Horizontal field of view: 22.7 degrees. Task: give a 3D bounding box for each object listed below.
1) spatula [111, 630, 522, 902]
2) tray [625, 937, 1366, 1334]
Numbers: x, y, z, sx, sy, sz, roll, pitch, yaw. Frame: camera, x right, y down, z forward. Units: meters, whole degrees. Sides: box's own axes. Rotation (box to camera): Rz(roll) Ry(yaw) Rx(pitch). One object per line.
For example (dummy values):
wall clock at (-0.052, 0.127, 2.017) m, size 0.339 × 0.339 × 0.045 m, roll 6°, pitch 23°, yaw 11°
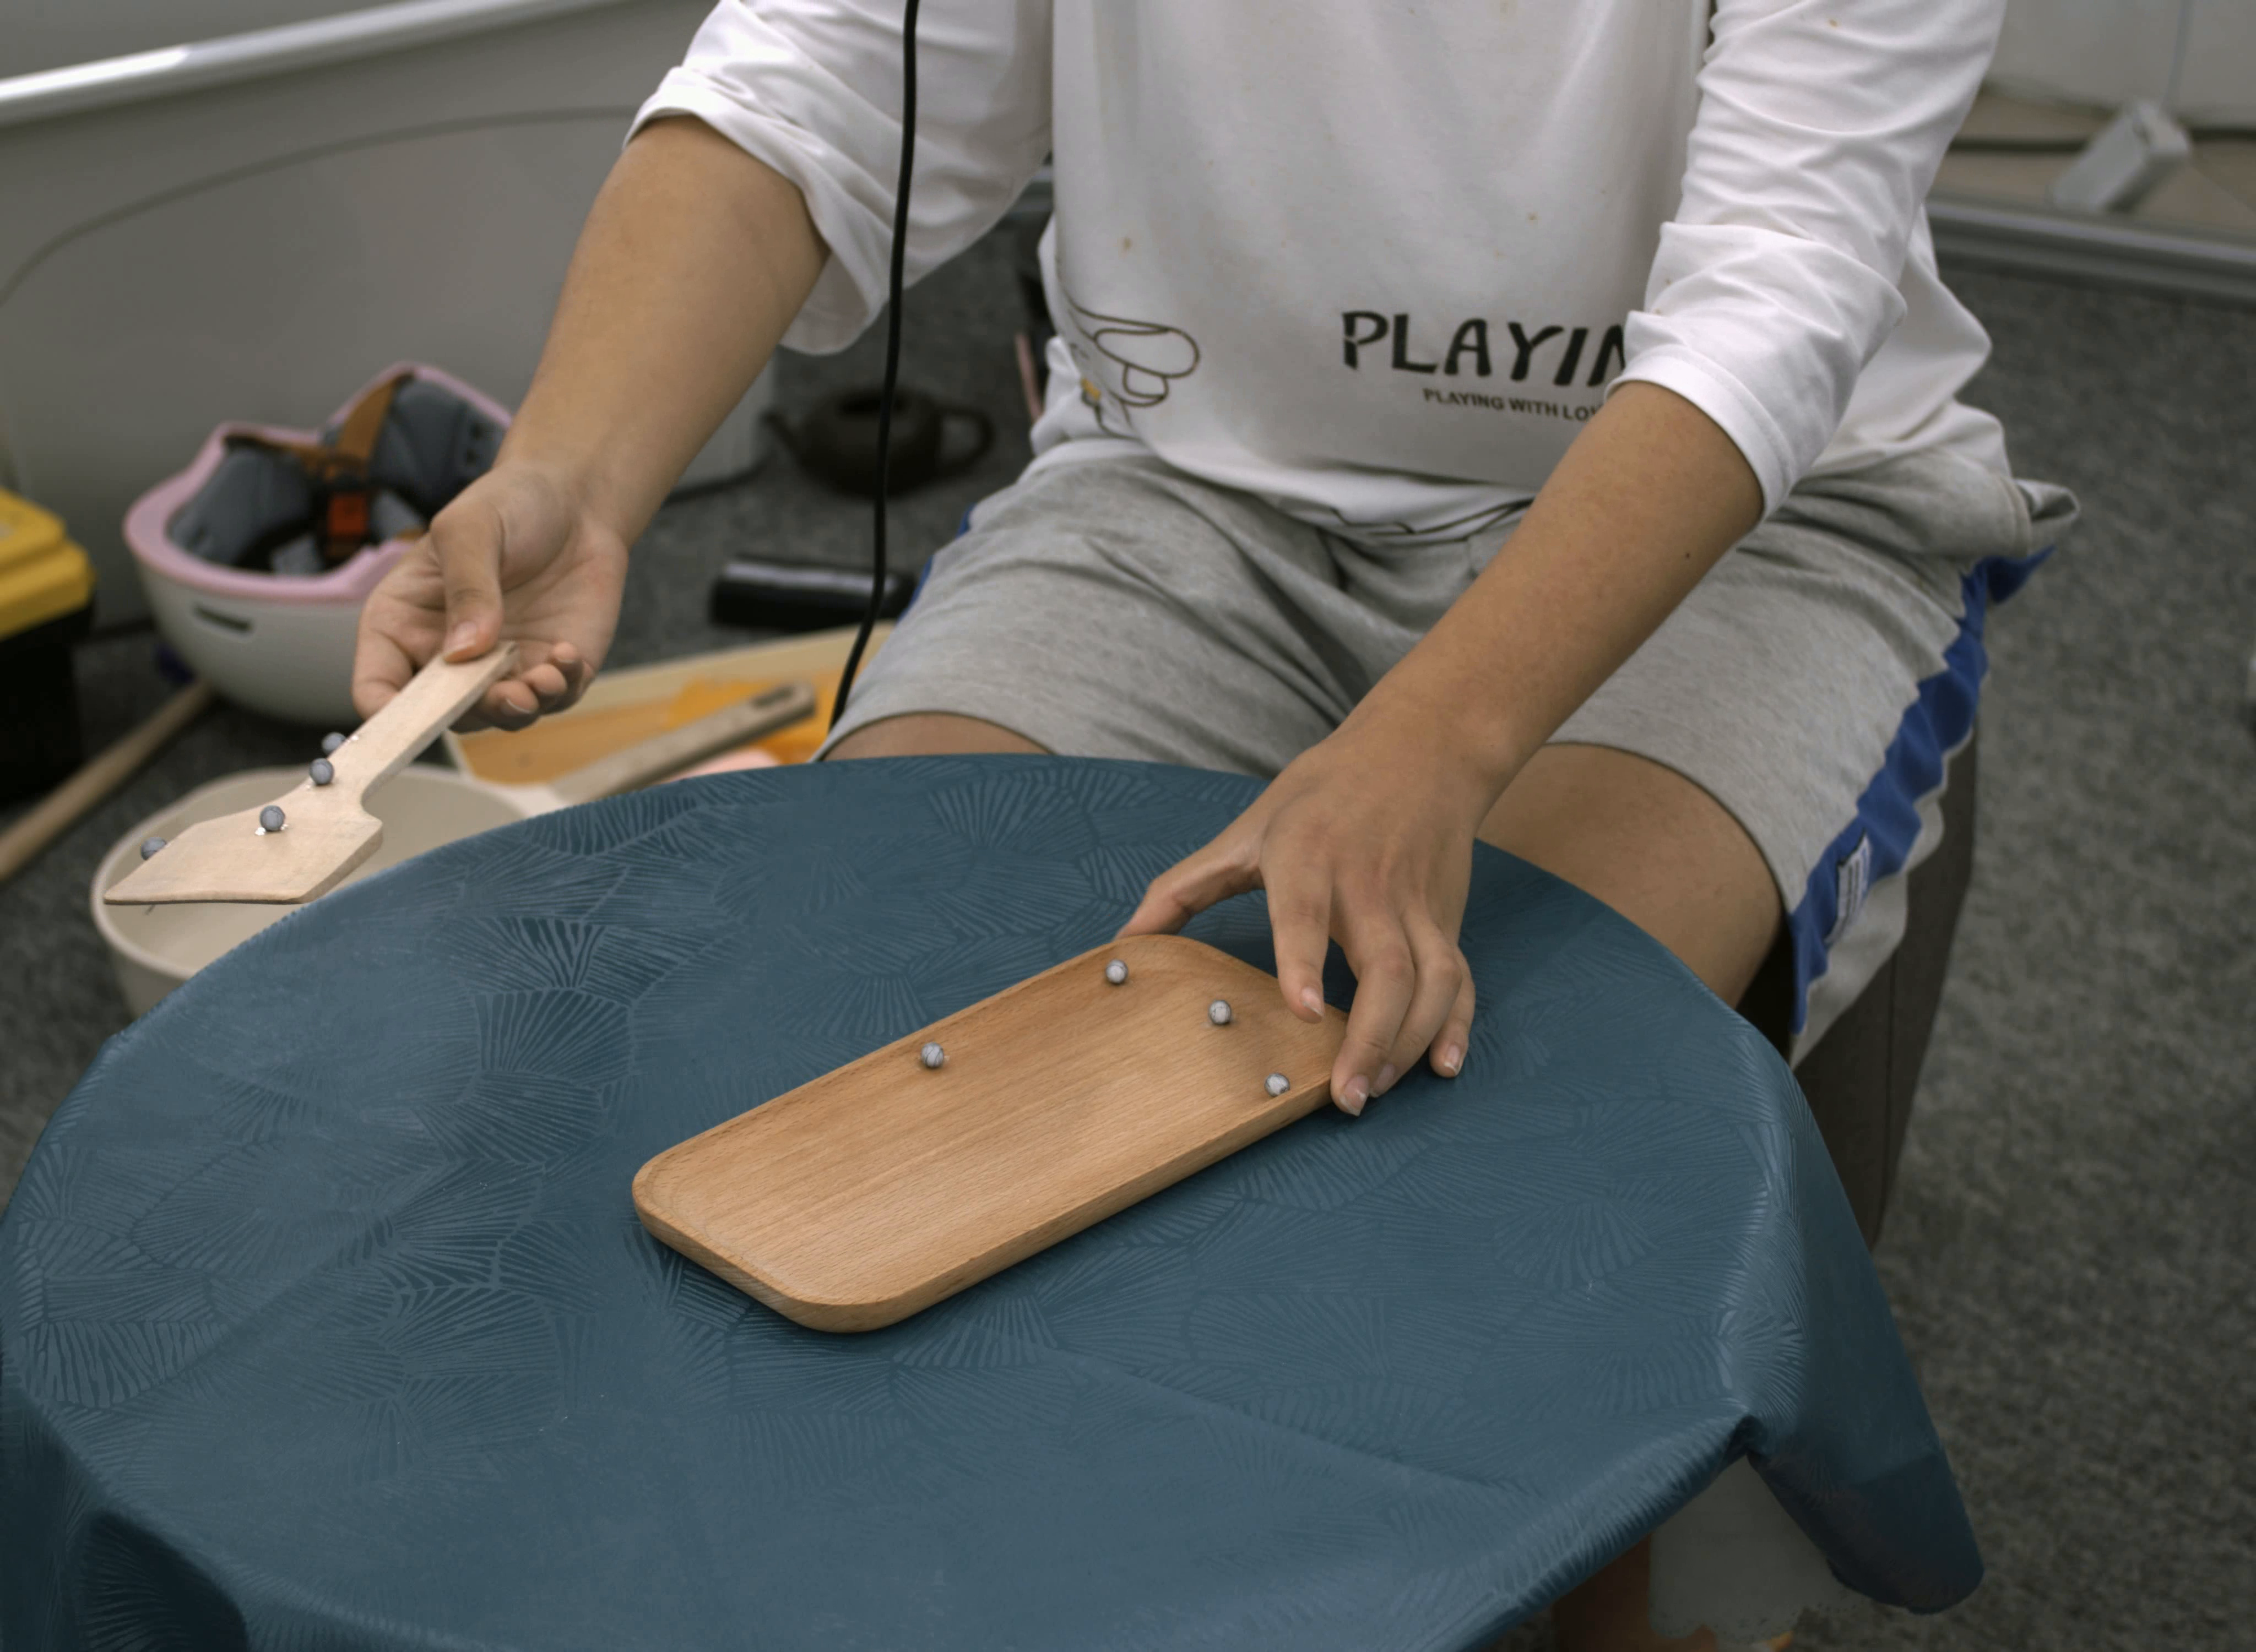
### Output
spatula at (-0.262, -0.021, 1.909) m, size 0.072 × 0.010 × 0.297 m, roll 0°, pitch 18°, yaw 12°
tray at (-0.042, 0.102, 1.889) m, size 0.253 × 0.022 × 0.130 m, roll -24°, pitch 32°, yaw -35°
